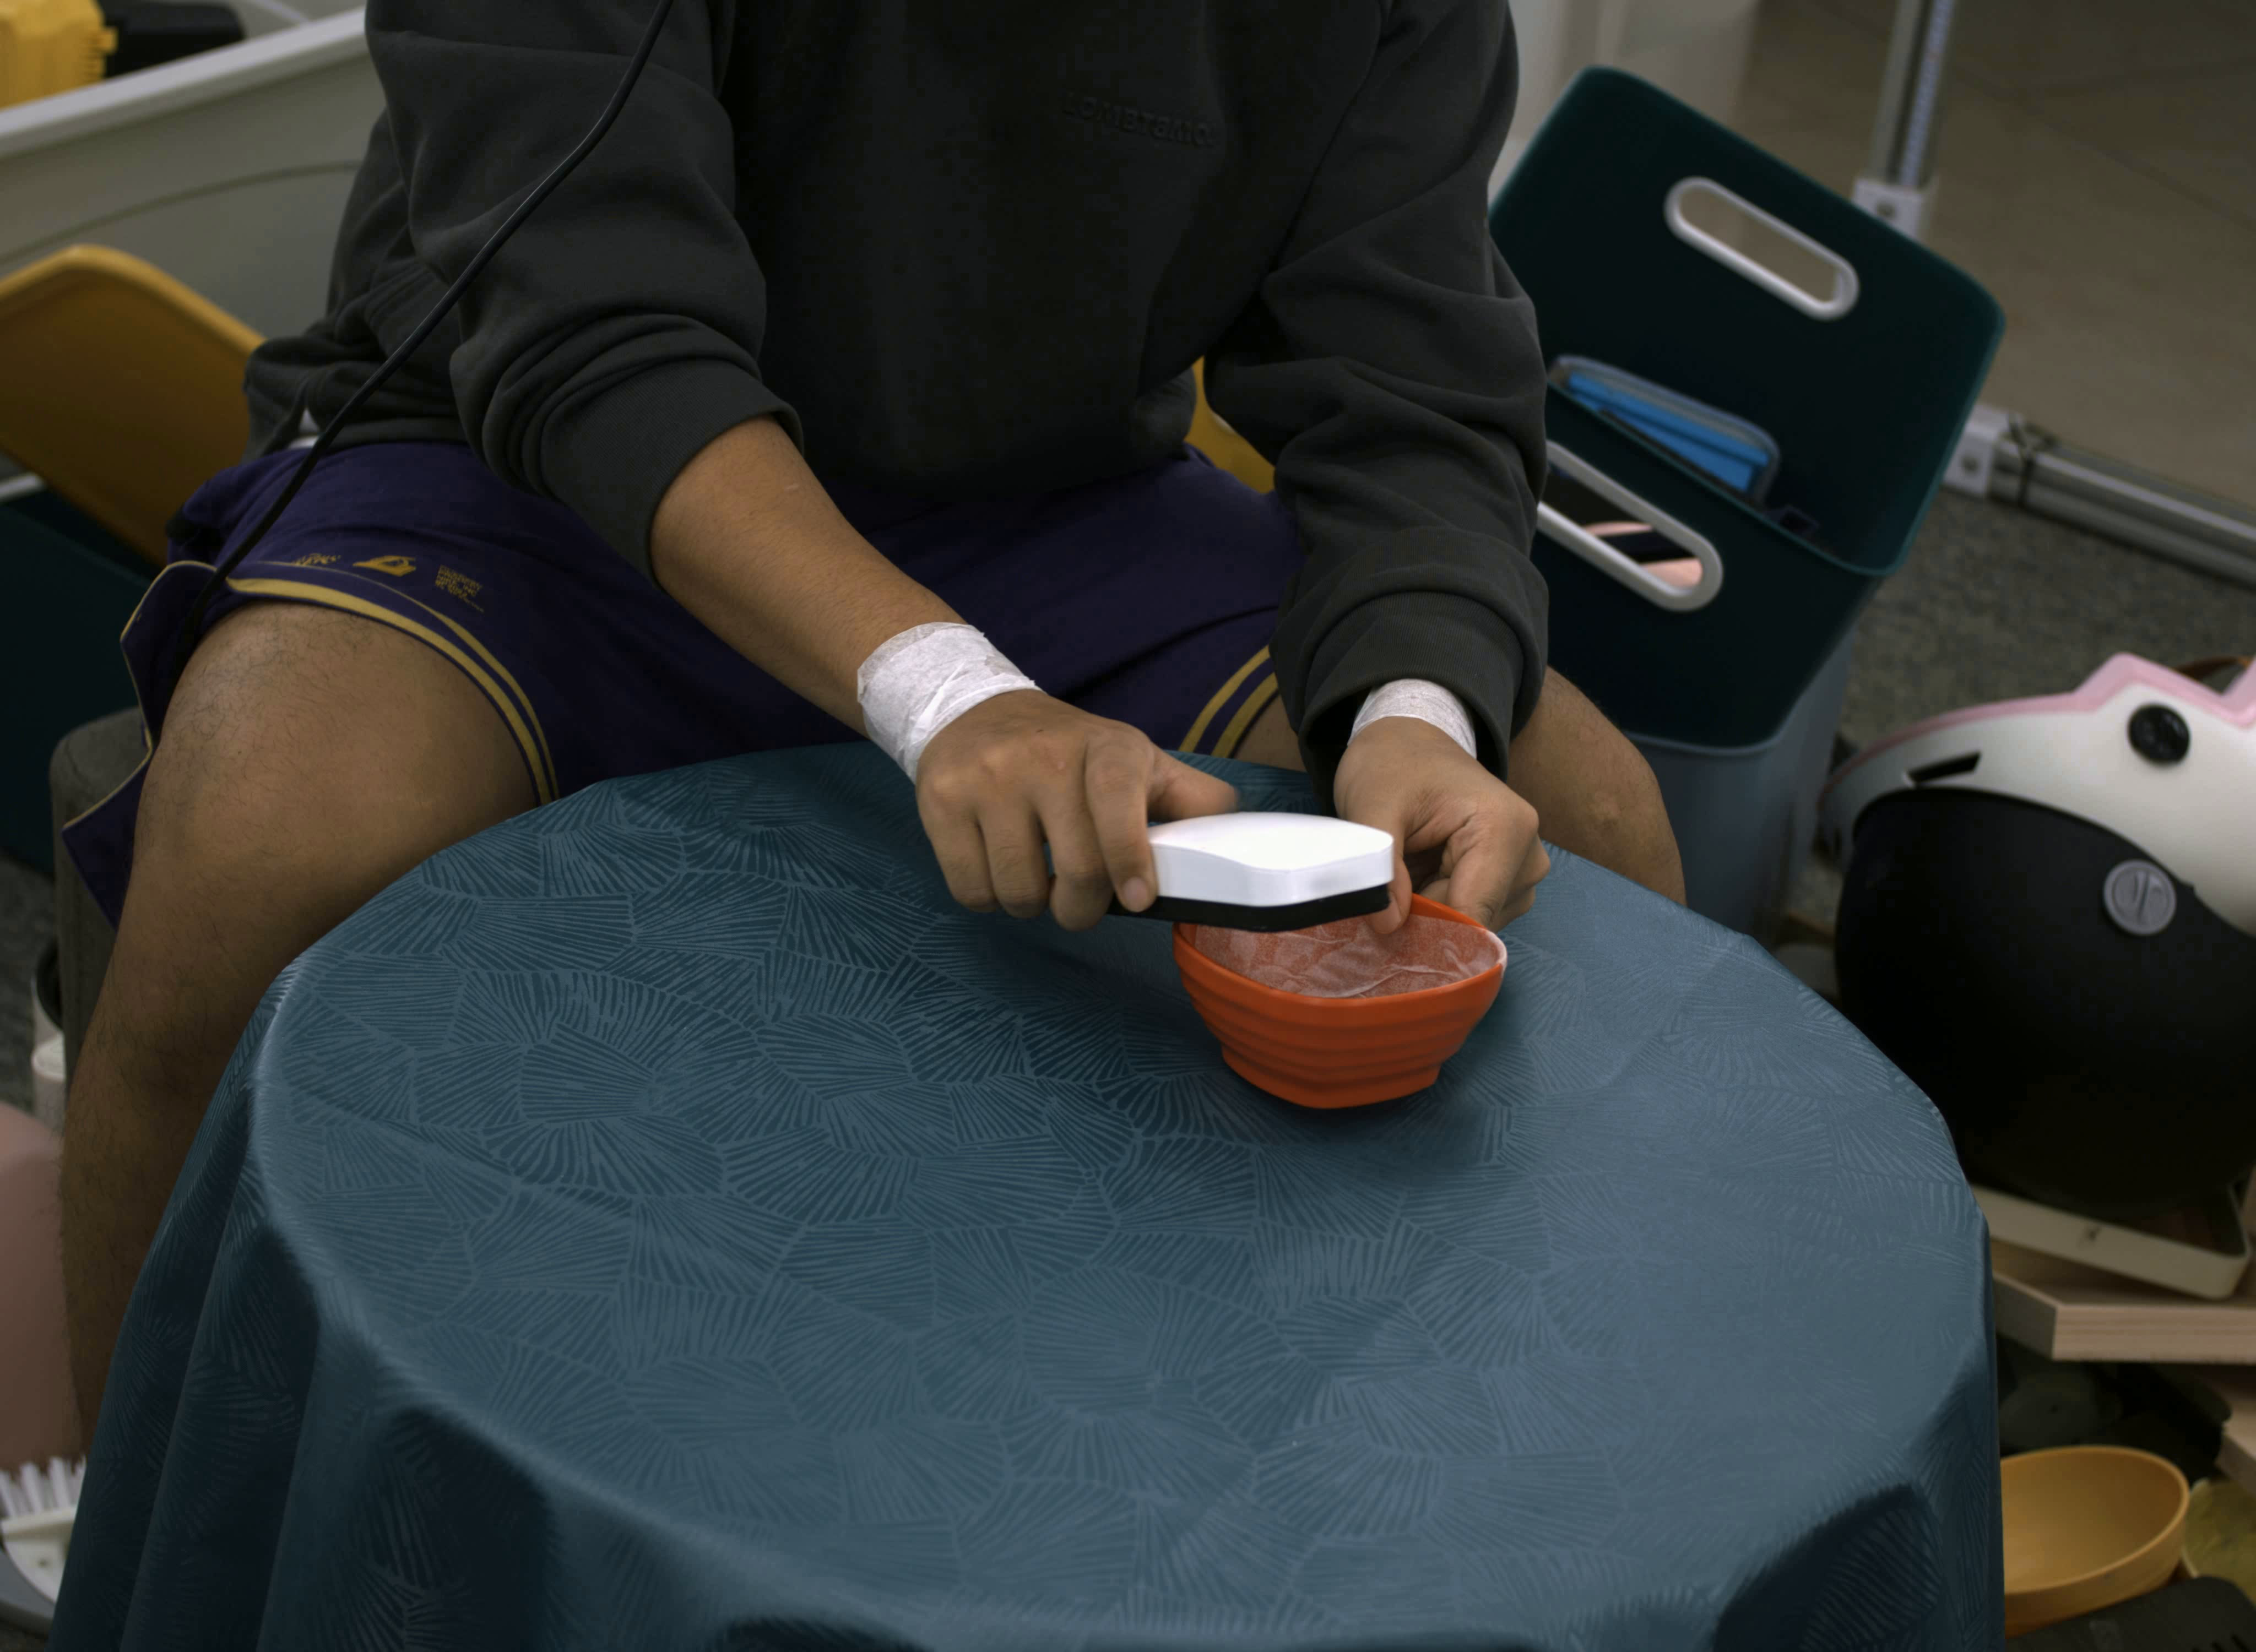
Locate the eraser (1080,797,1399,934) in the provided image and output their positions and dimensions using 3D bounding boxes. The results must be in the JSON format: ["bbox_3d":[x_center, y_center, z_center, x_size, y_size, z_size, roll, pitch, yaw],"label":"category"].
[{"bbox_3d":[0.040,0.013,1.866,0.063,0.034,0.132,-10,10,-32],"label":"eraser"}]

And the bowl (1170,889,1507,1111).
[{"bbox_3d":[0.073,0.062,1.873,0.118,0.051,0.119,2,19,-1],"label":"bowl"}]
